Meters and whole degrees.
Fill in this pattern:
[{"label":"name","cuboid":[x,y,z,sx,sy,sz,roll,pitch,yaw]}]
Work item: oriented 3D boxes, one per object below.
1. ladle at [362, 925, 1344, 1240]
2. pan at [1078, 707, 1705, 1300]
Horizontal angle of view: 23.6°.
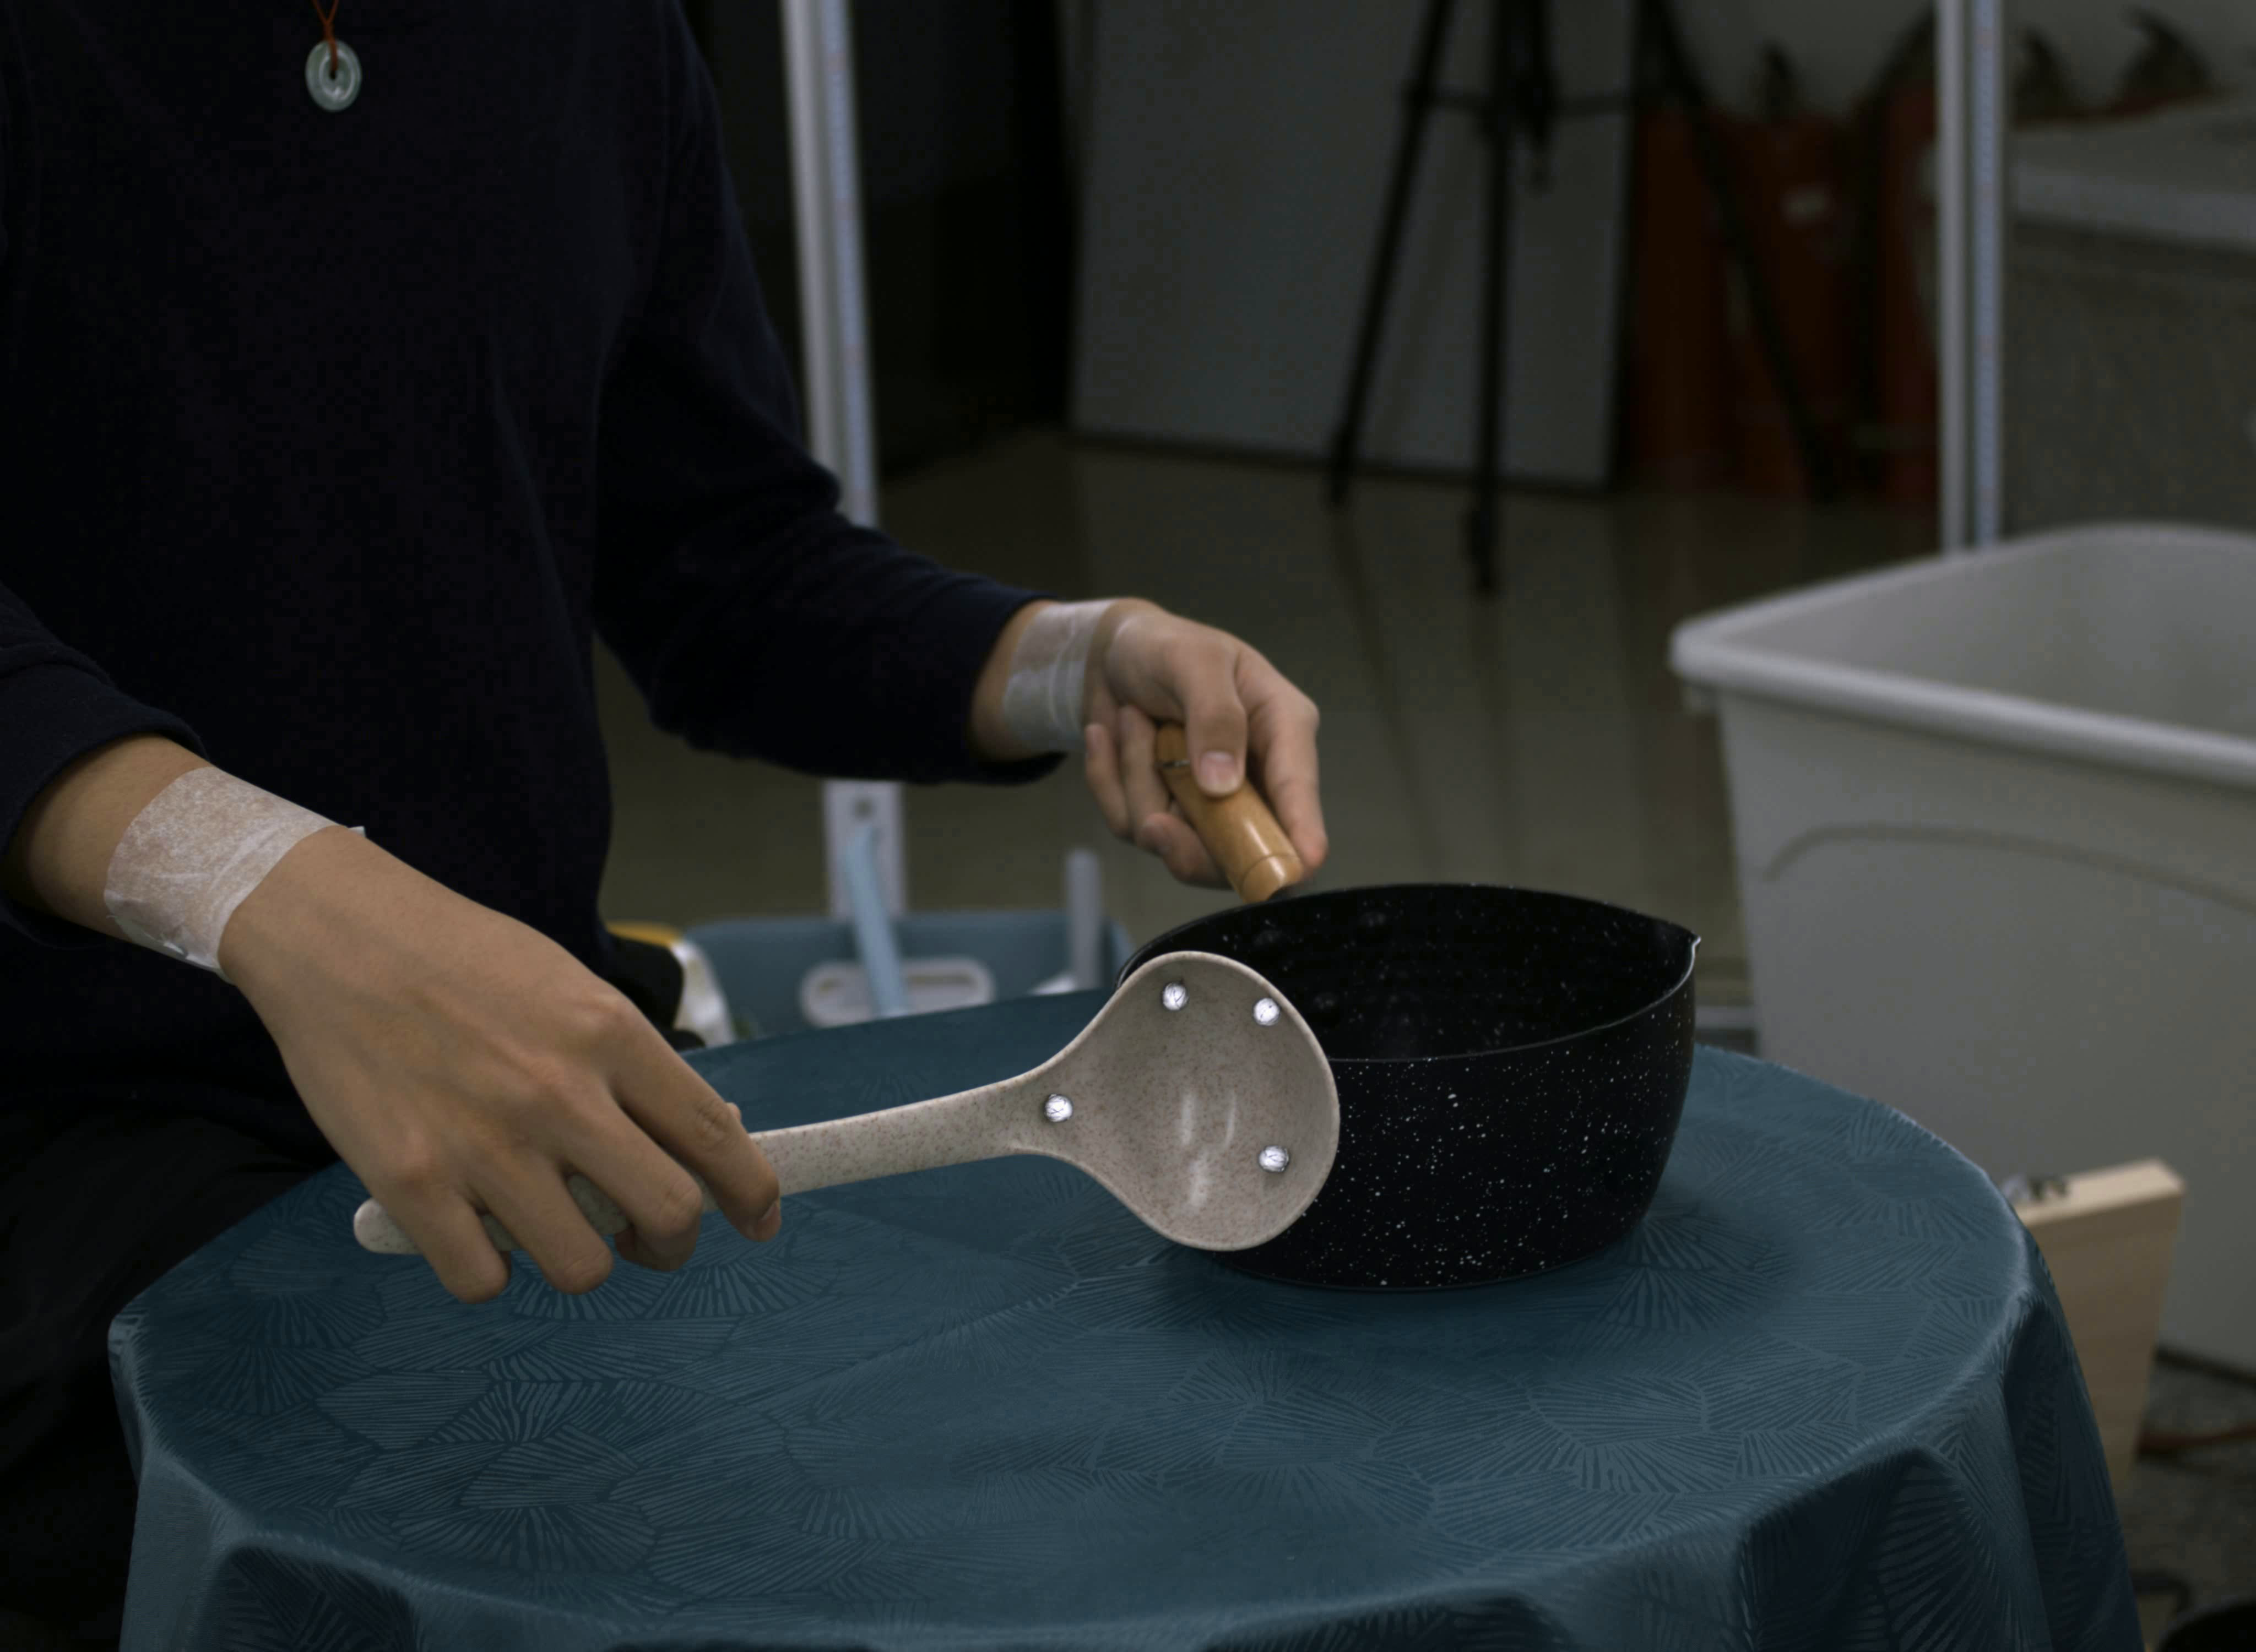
[{"label":"ladle","cuboid":[-0.070,0.086,1.480,0.269,0.090,0.070,-8,7,-27]},{"label":"pan","cuboid":[0.066,0.053,1.784,0.203,0.109,0.346,-9,17,-14]}]
